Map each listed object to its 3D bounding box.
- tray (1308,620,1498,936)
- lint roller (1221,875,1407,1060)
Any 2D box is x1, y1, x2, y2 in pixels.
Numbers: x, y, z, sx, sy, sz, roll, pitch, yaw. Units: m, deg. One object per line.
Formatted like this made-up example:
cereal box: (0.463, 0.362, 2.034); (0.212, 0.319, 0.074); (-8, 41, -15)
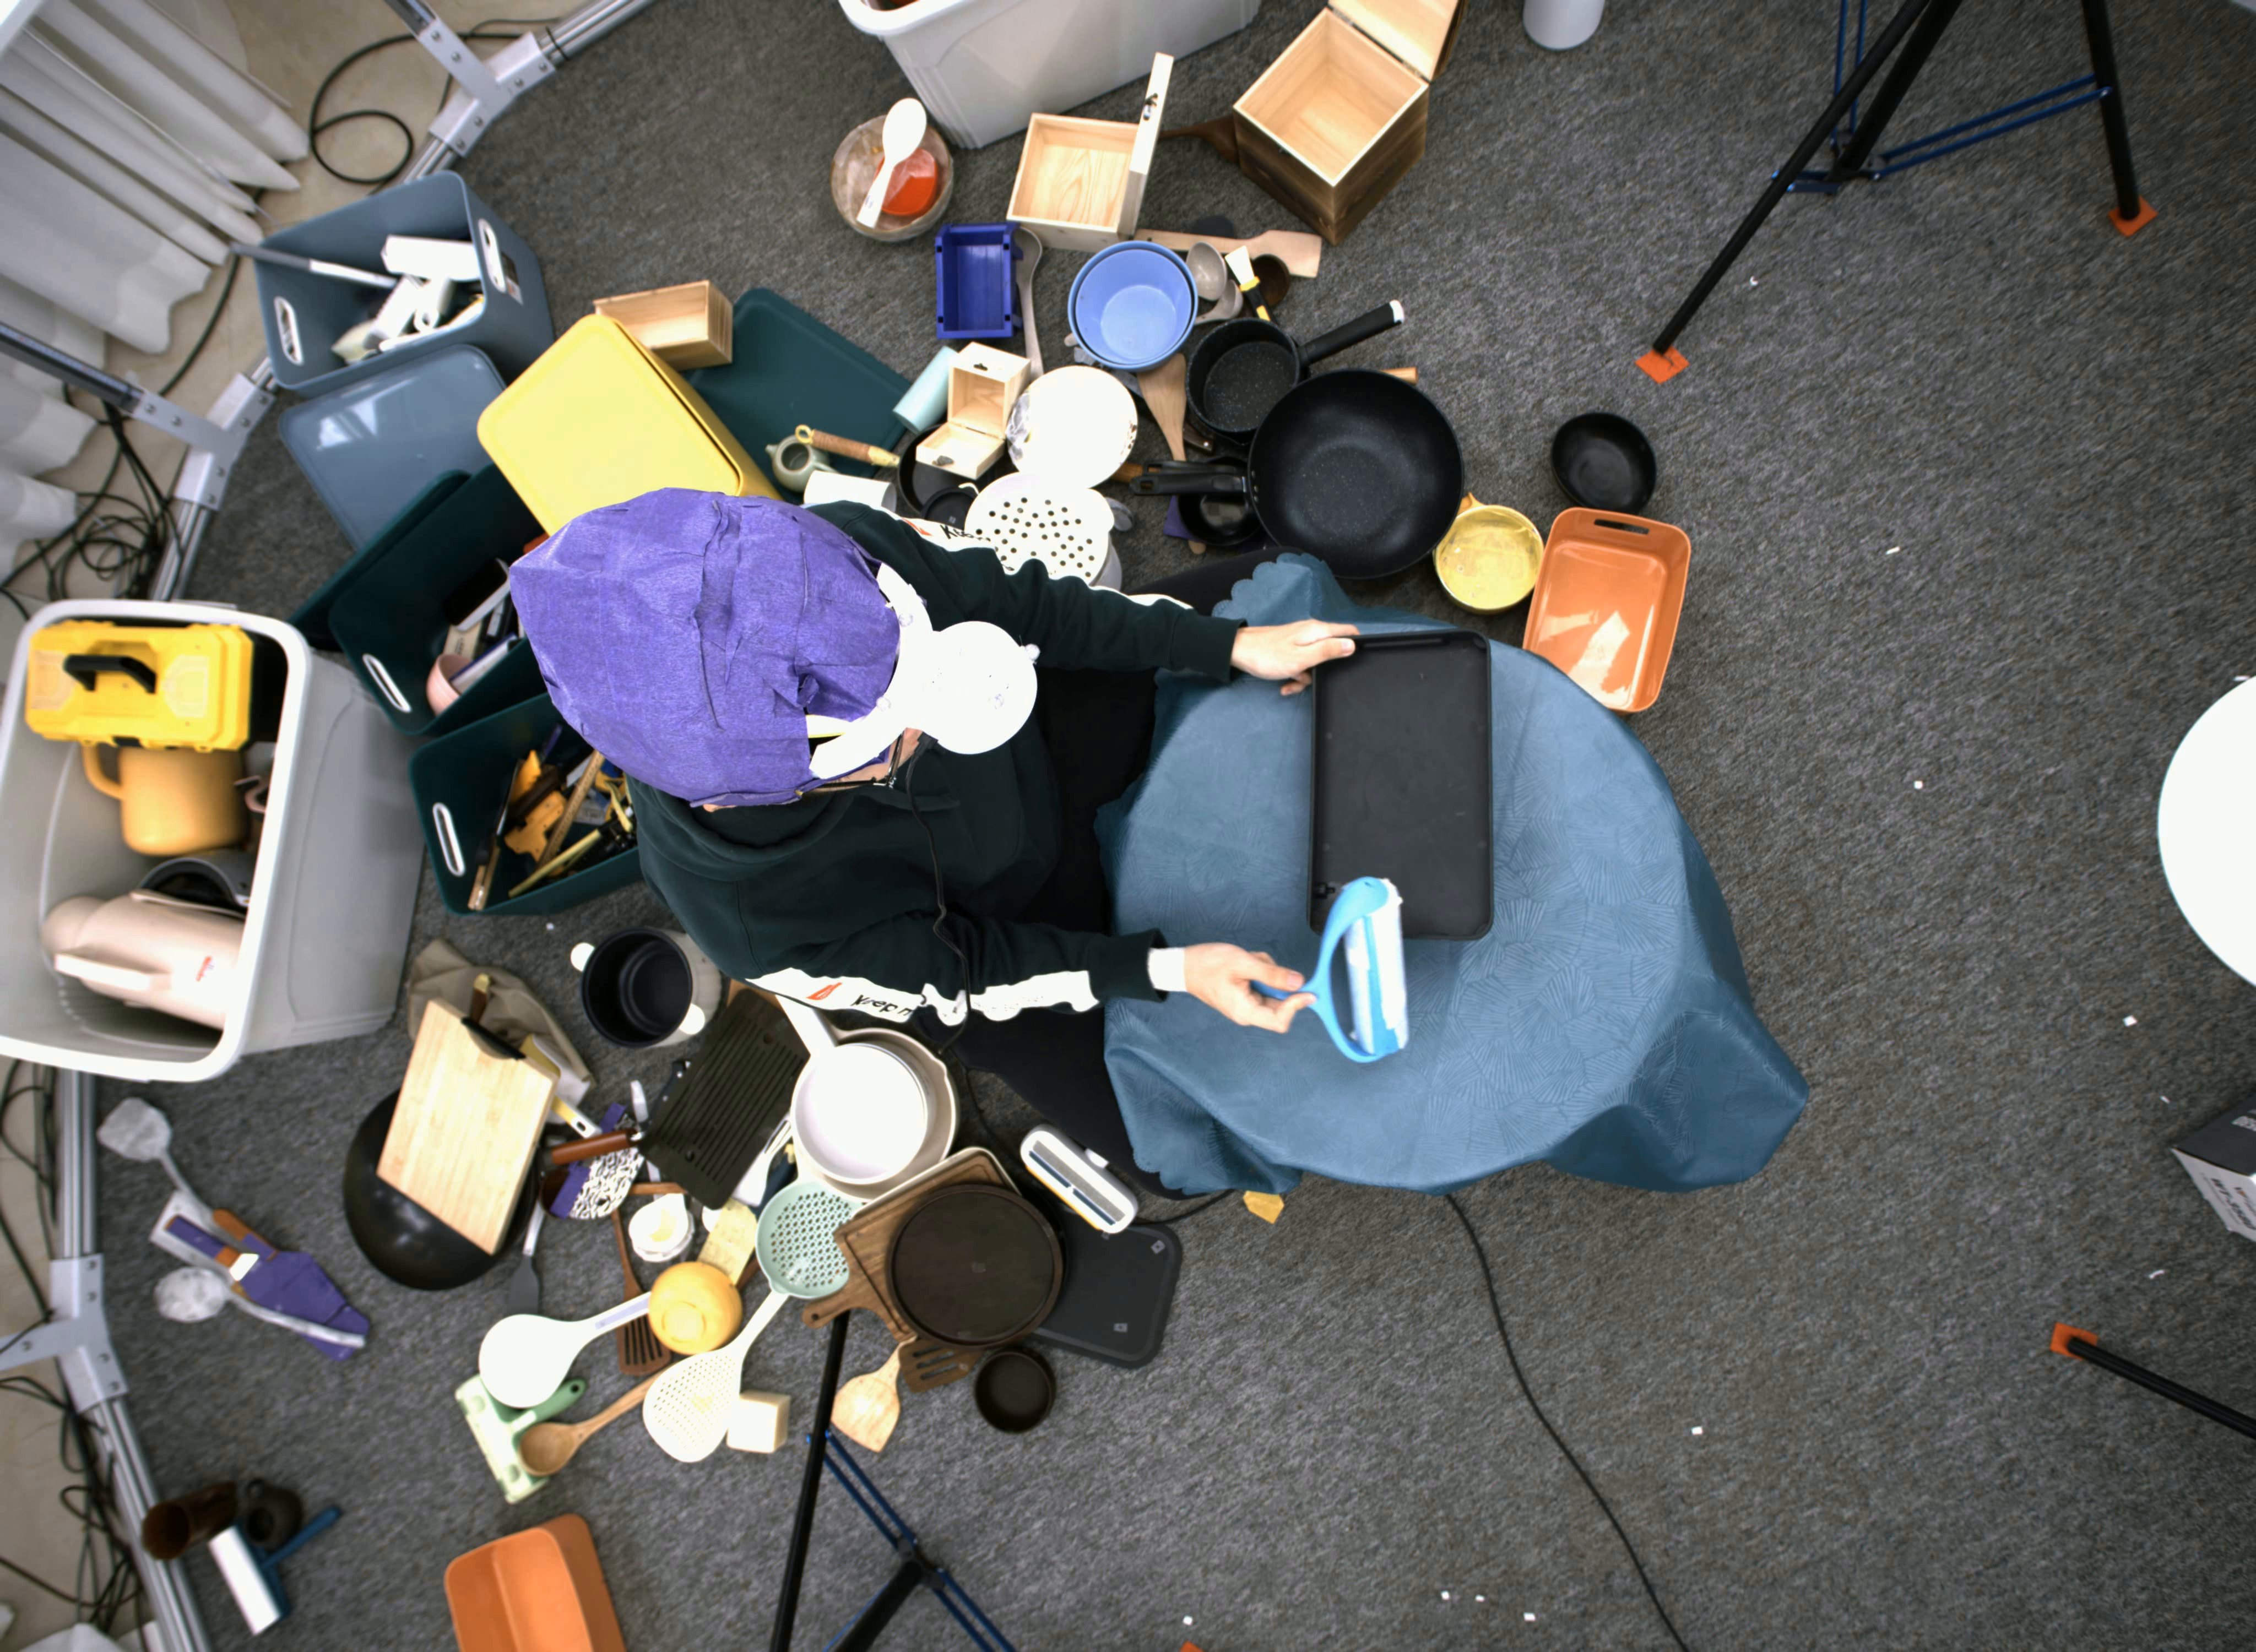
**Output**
tray: (0.277, -0.047, 1.389); (0.185, 0.037, 0.315); (-2, 82, 21)
lint roller: (0.180, 0.146, 1.359); (0.181, 0.234, 0.066); (-8, 41, 12)
